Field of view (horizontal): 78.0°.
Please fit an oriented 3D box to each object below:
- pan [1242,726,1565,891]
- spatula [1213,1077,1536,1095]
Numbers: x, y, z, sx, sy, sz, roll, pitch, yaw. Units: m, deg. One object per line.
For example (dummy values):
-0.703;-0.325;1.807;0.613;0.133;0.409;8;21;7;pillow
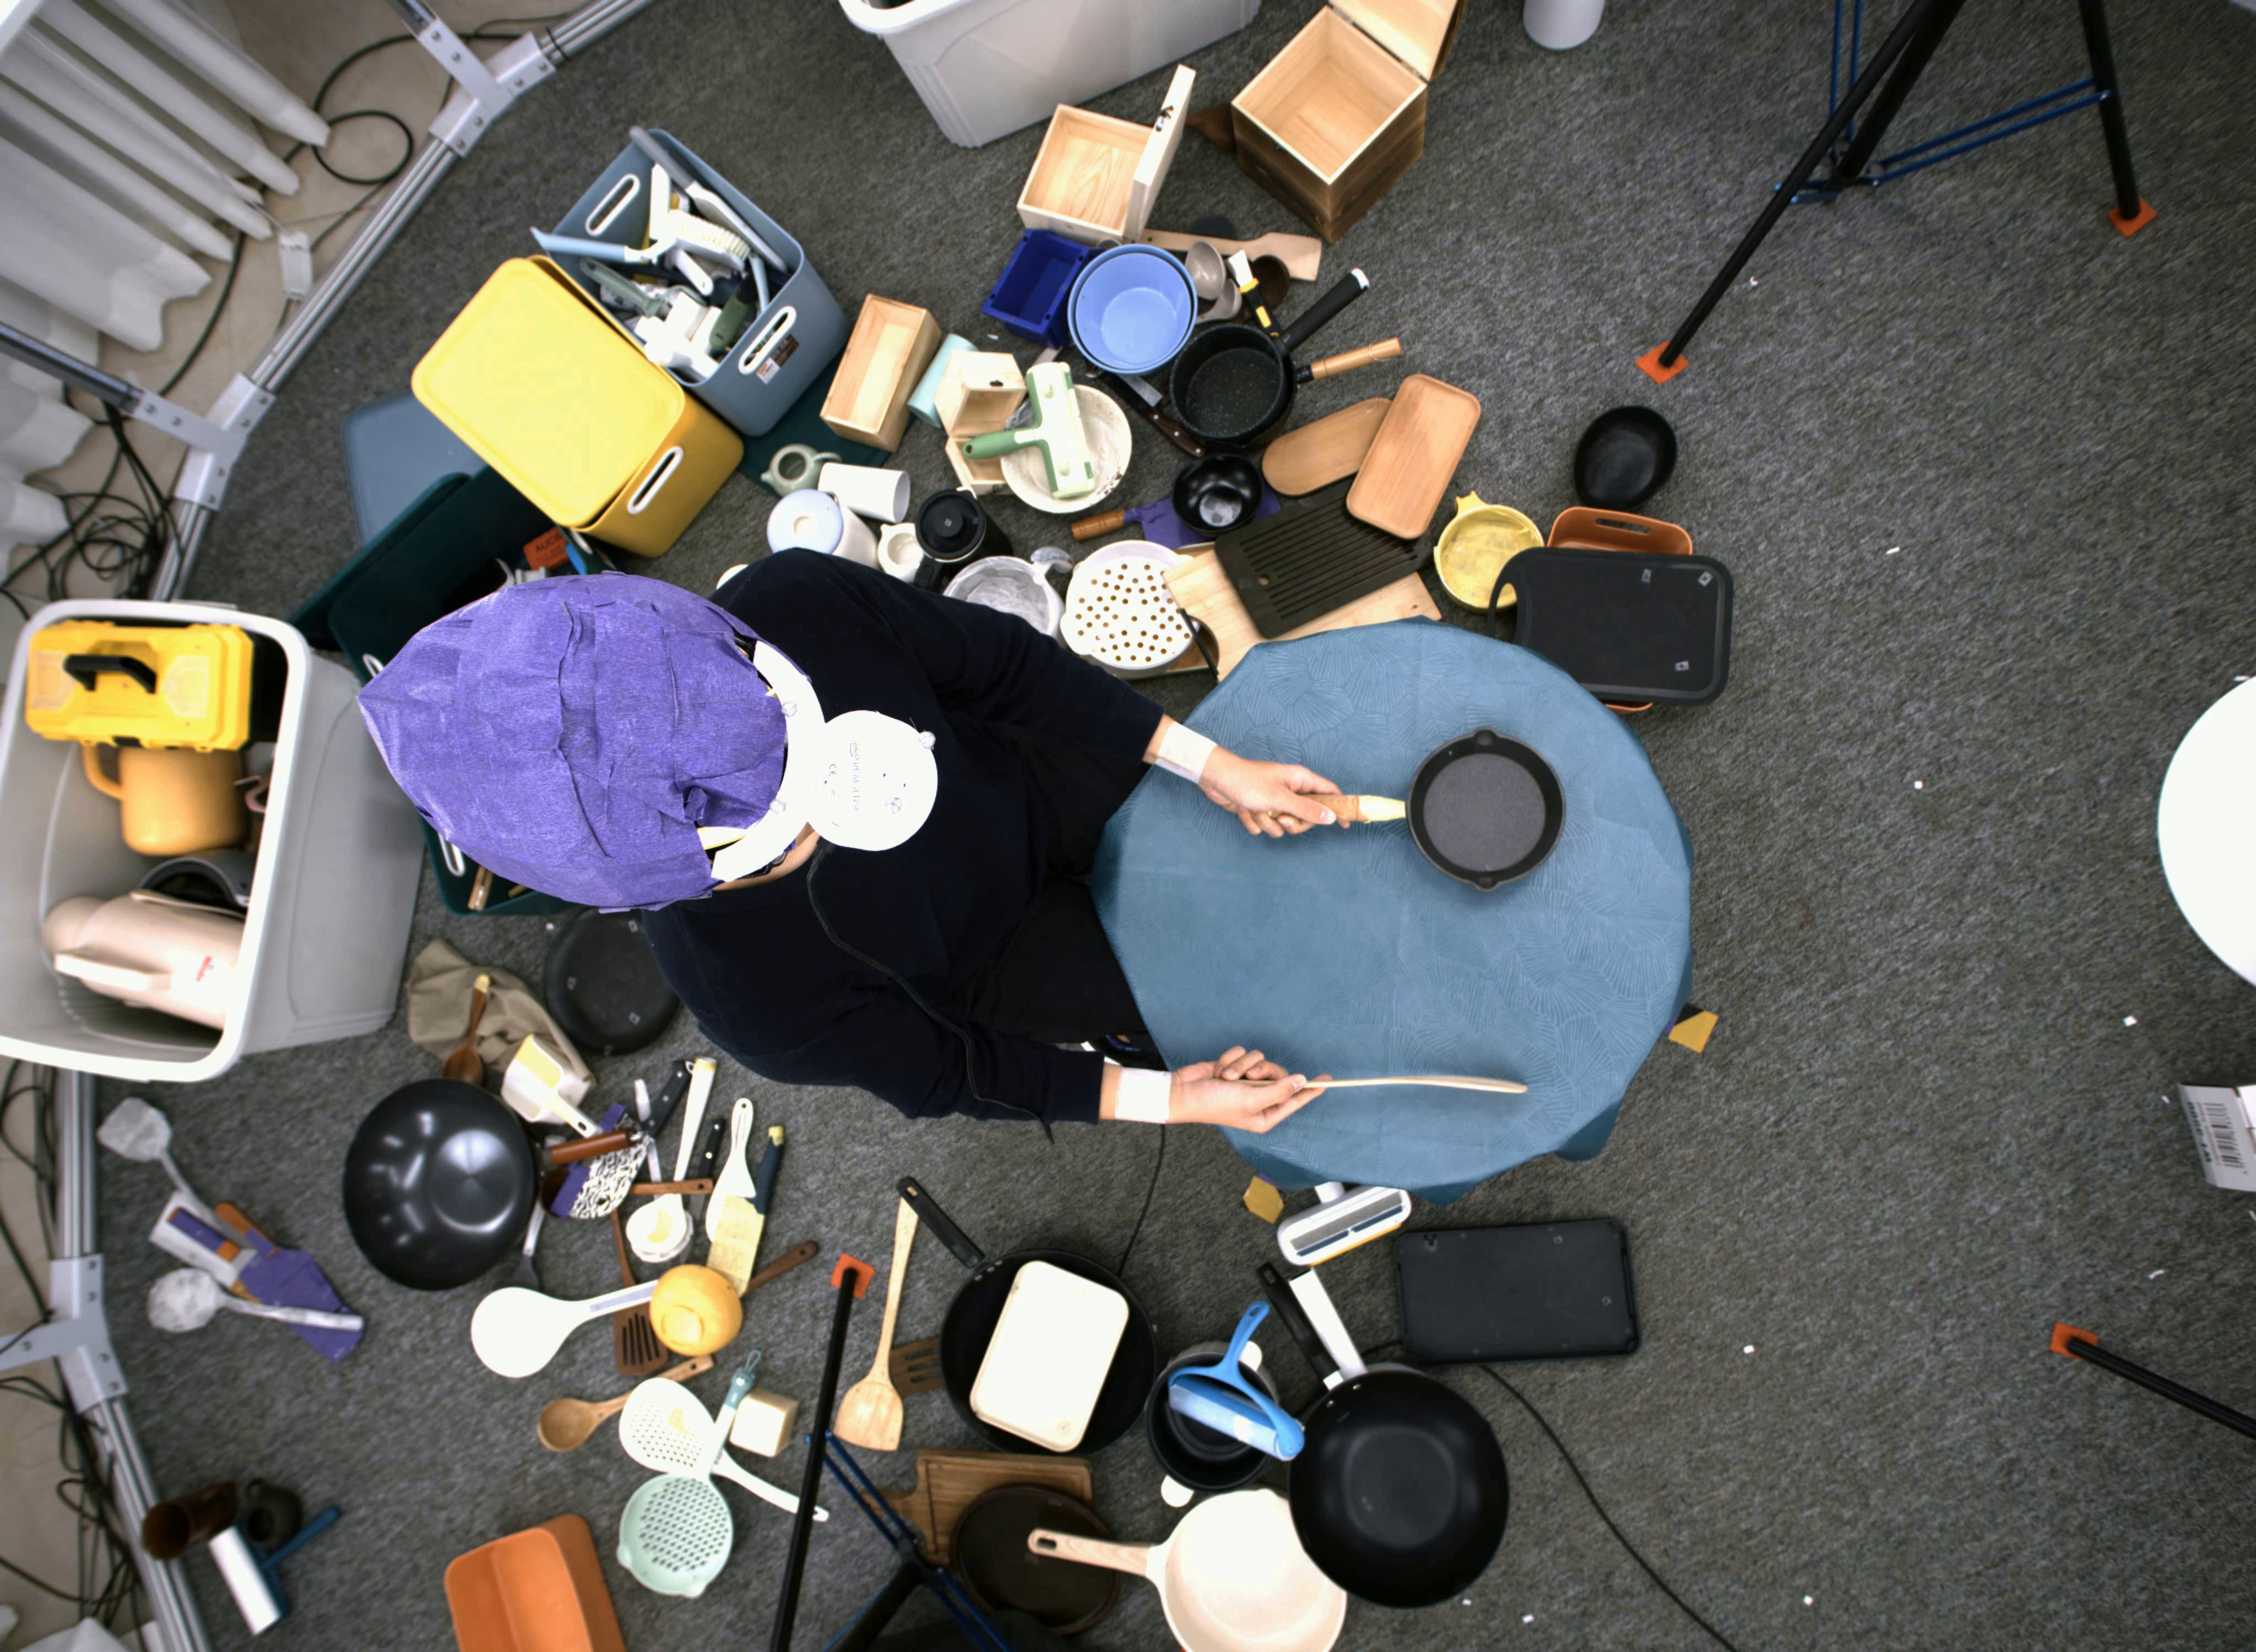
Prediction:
0.280;-0.022;1.411;0.325;0.049;0.168;2;86;11;pan
0.249;0.260;1.390;0.328;0.080;0.016;0;83;2;spatula
